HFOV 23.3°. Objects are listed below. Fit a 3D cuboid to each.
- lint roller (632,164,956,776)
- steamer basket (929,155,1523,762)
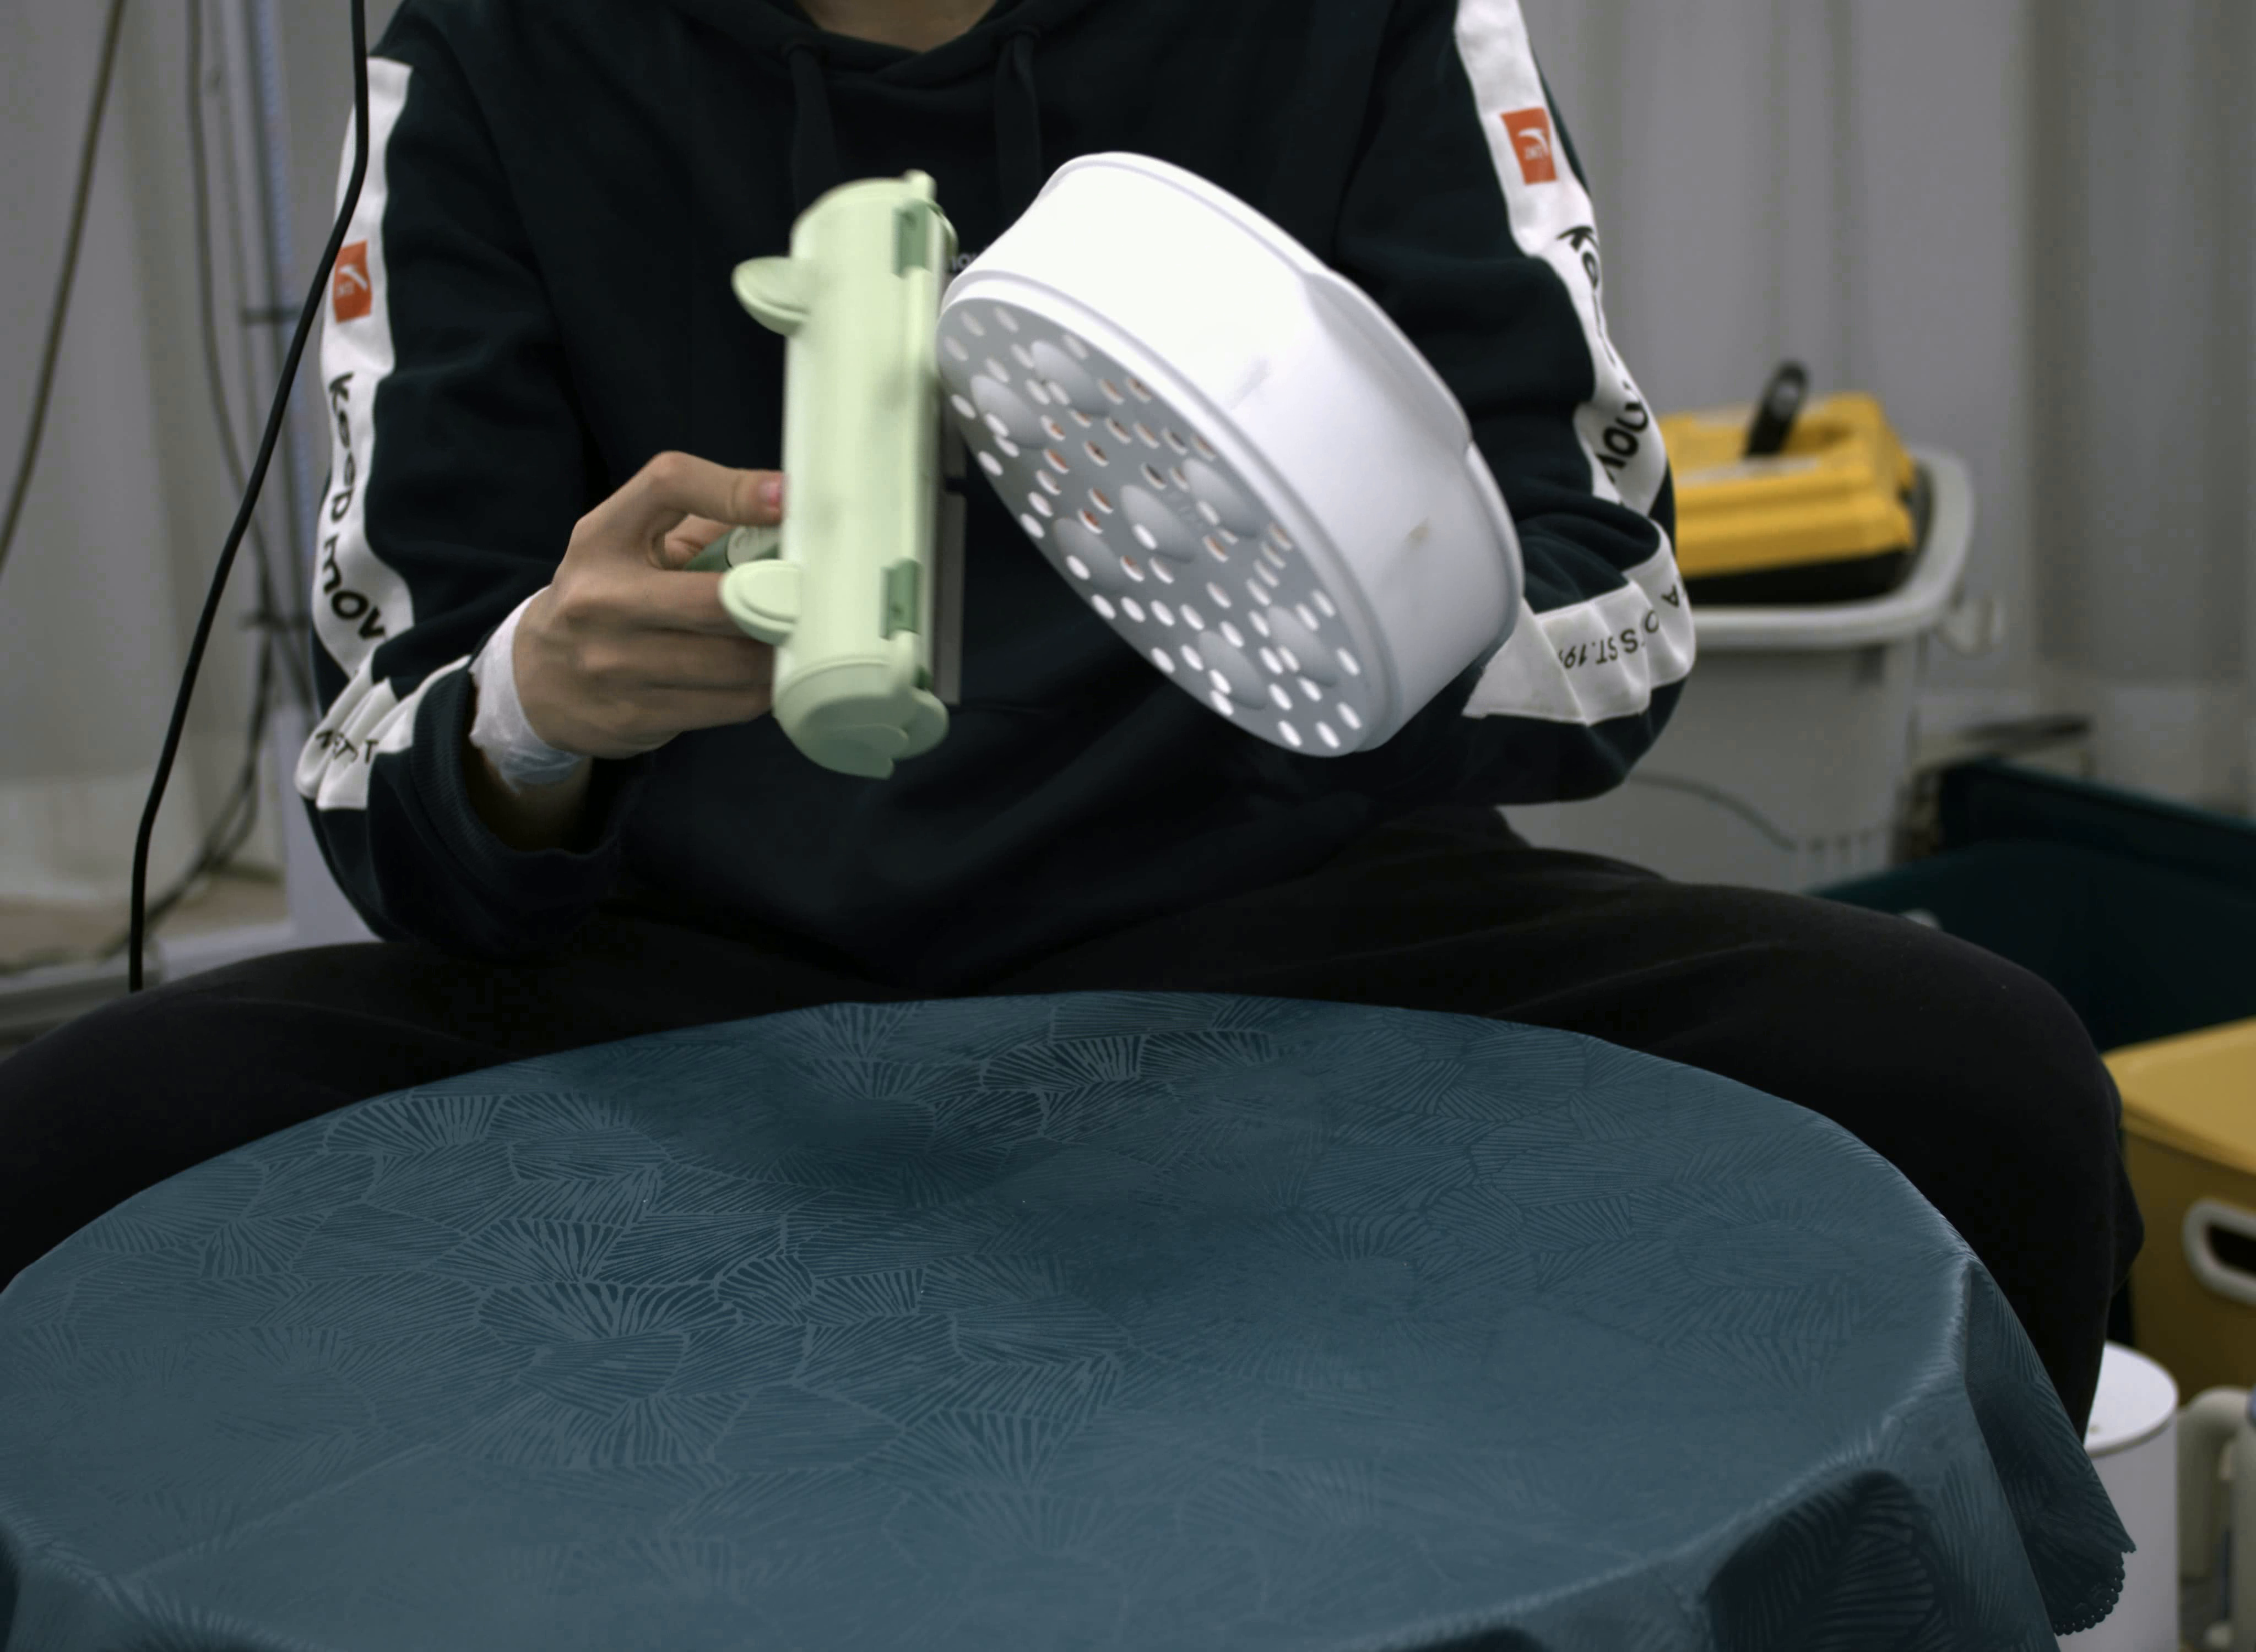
[{"bbox_3d":[-0.125,-0.094,1.753,0.081,0.201,0.182,23,-38,-35],"label":"lint roller"},{"bbox_3d":[0.027,-0.108,1.677,0.069,0.201,0.230,-44,9,-16],"label":"steamer basket"}]
